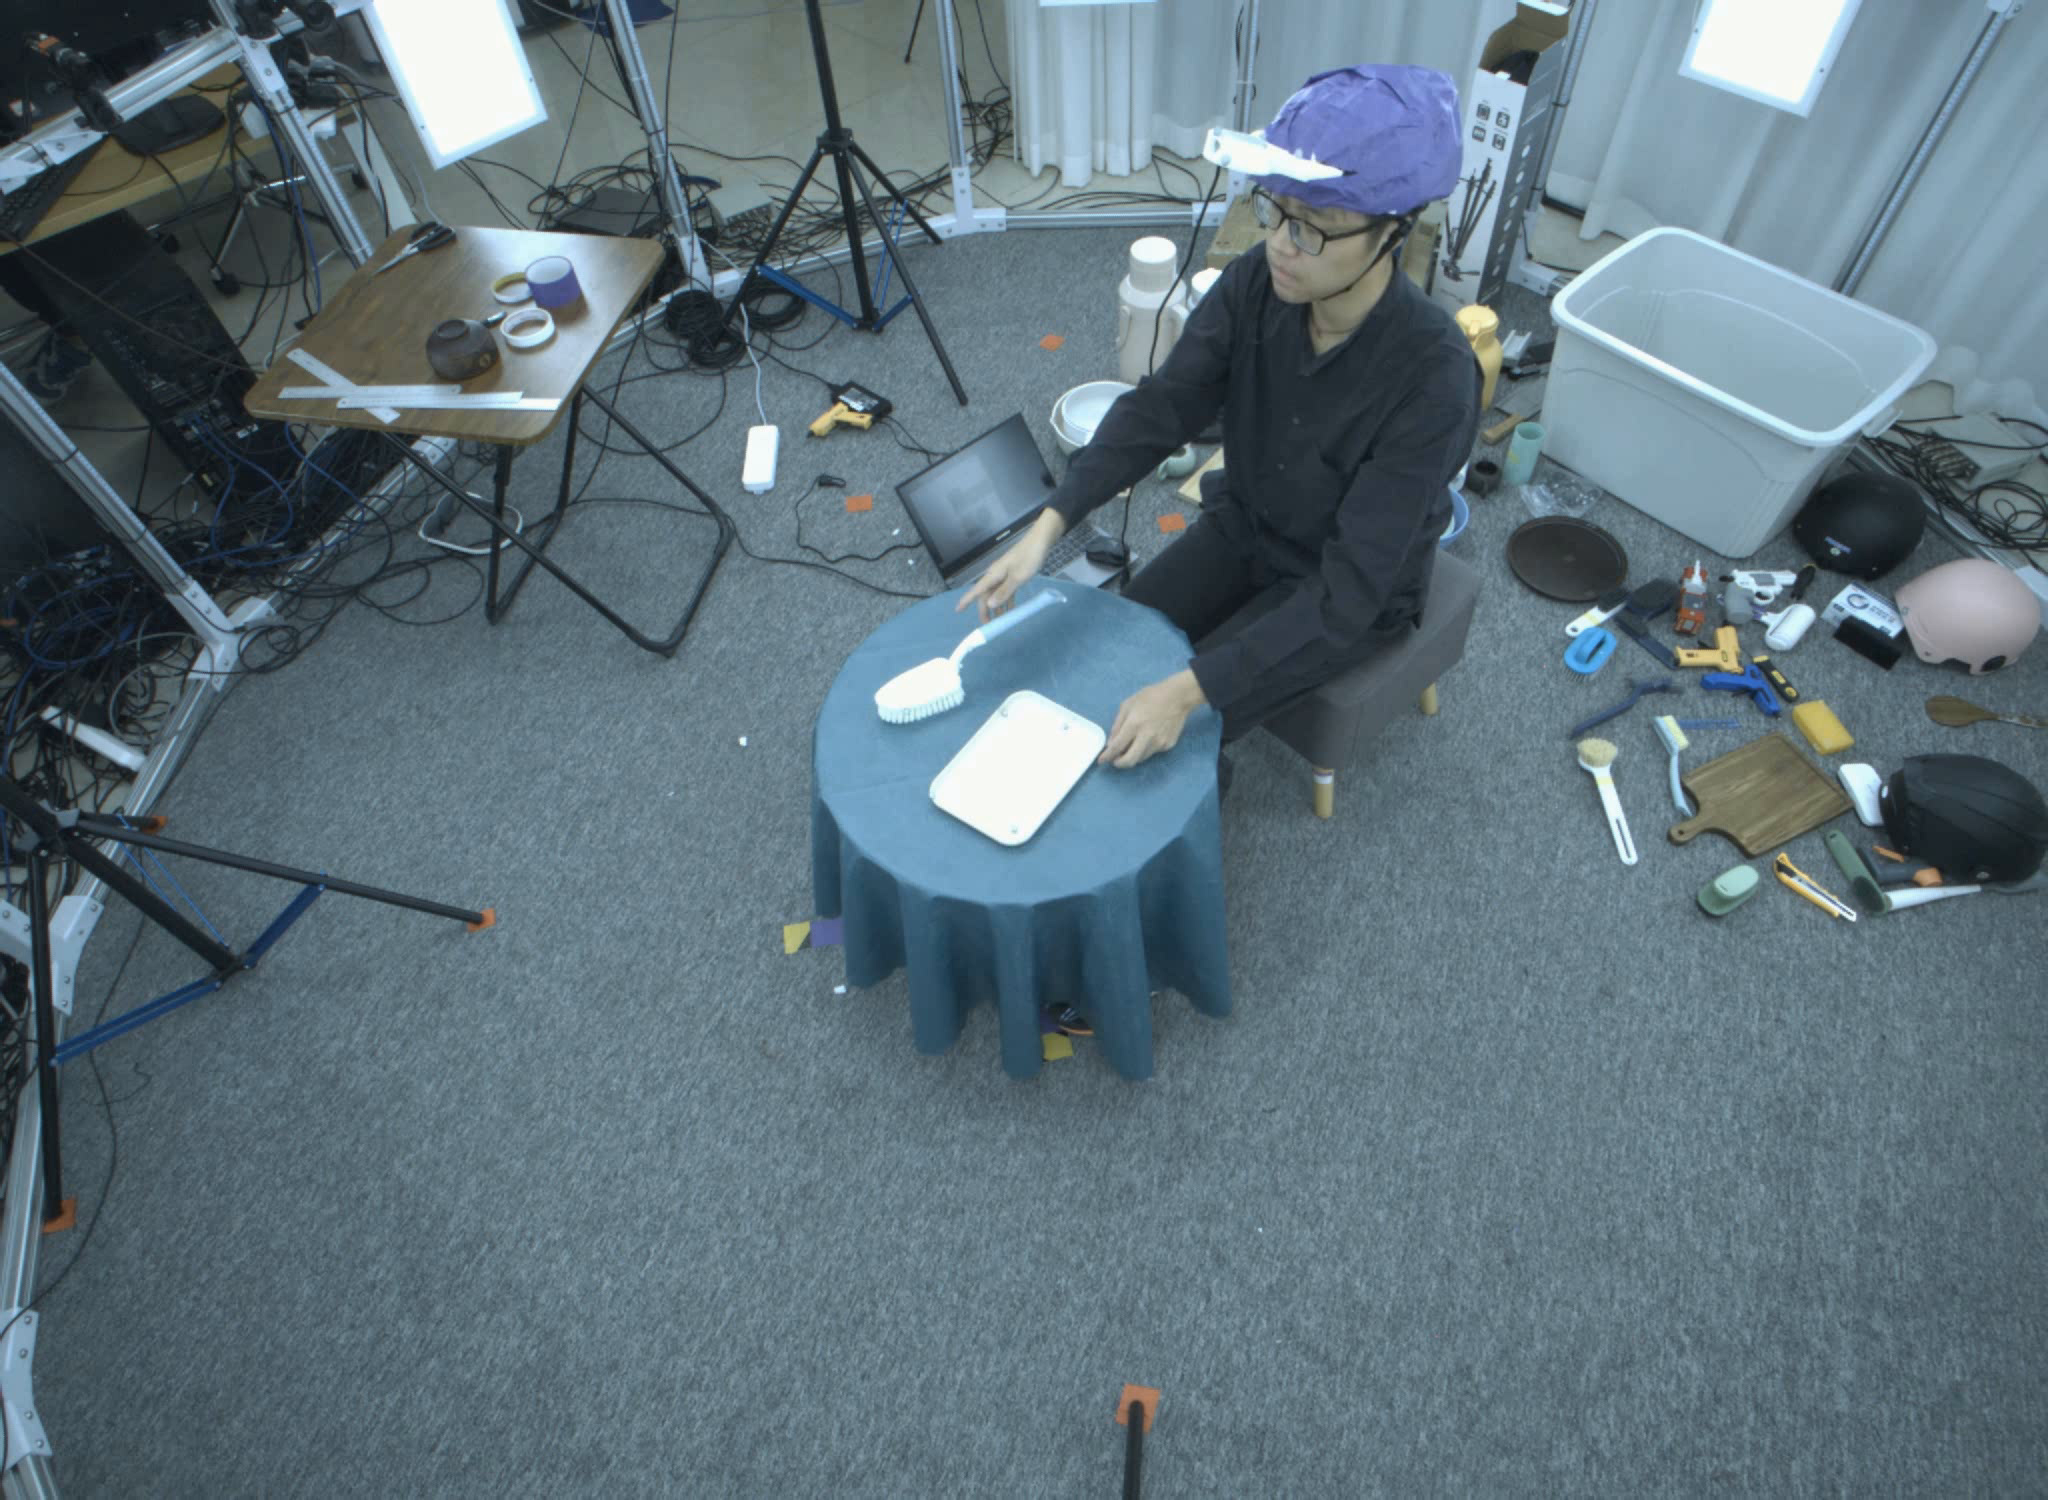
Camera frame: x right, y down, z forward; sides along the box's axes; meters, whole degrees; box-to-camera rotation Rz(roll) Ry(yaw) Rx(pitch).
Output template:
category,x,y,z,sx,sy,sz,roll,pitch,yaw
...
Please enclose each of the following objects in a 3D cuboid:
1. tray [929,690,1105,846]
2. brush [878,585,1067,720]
category,x,y,z,sx,sy,sz,roll,pitch,yaw
tray,-0.008,0.024,1.761,0.168,0.017,0.241,30,61,21
brush,-0.068,-0.136,1.834,0.326,0.084,0.083,-31,94,-5
